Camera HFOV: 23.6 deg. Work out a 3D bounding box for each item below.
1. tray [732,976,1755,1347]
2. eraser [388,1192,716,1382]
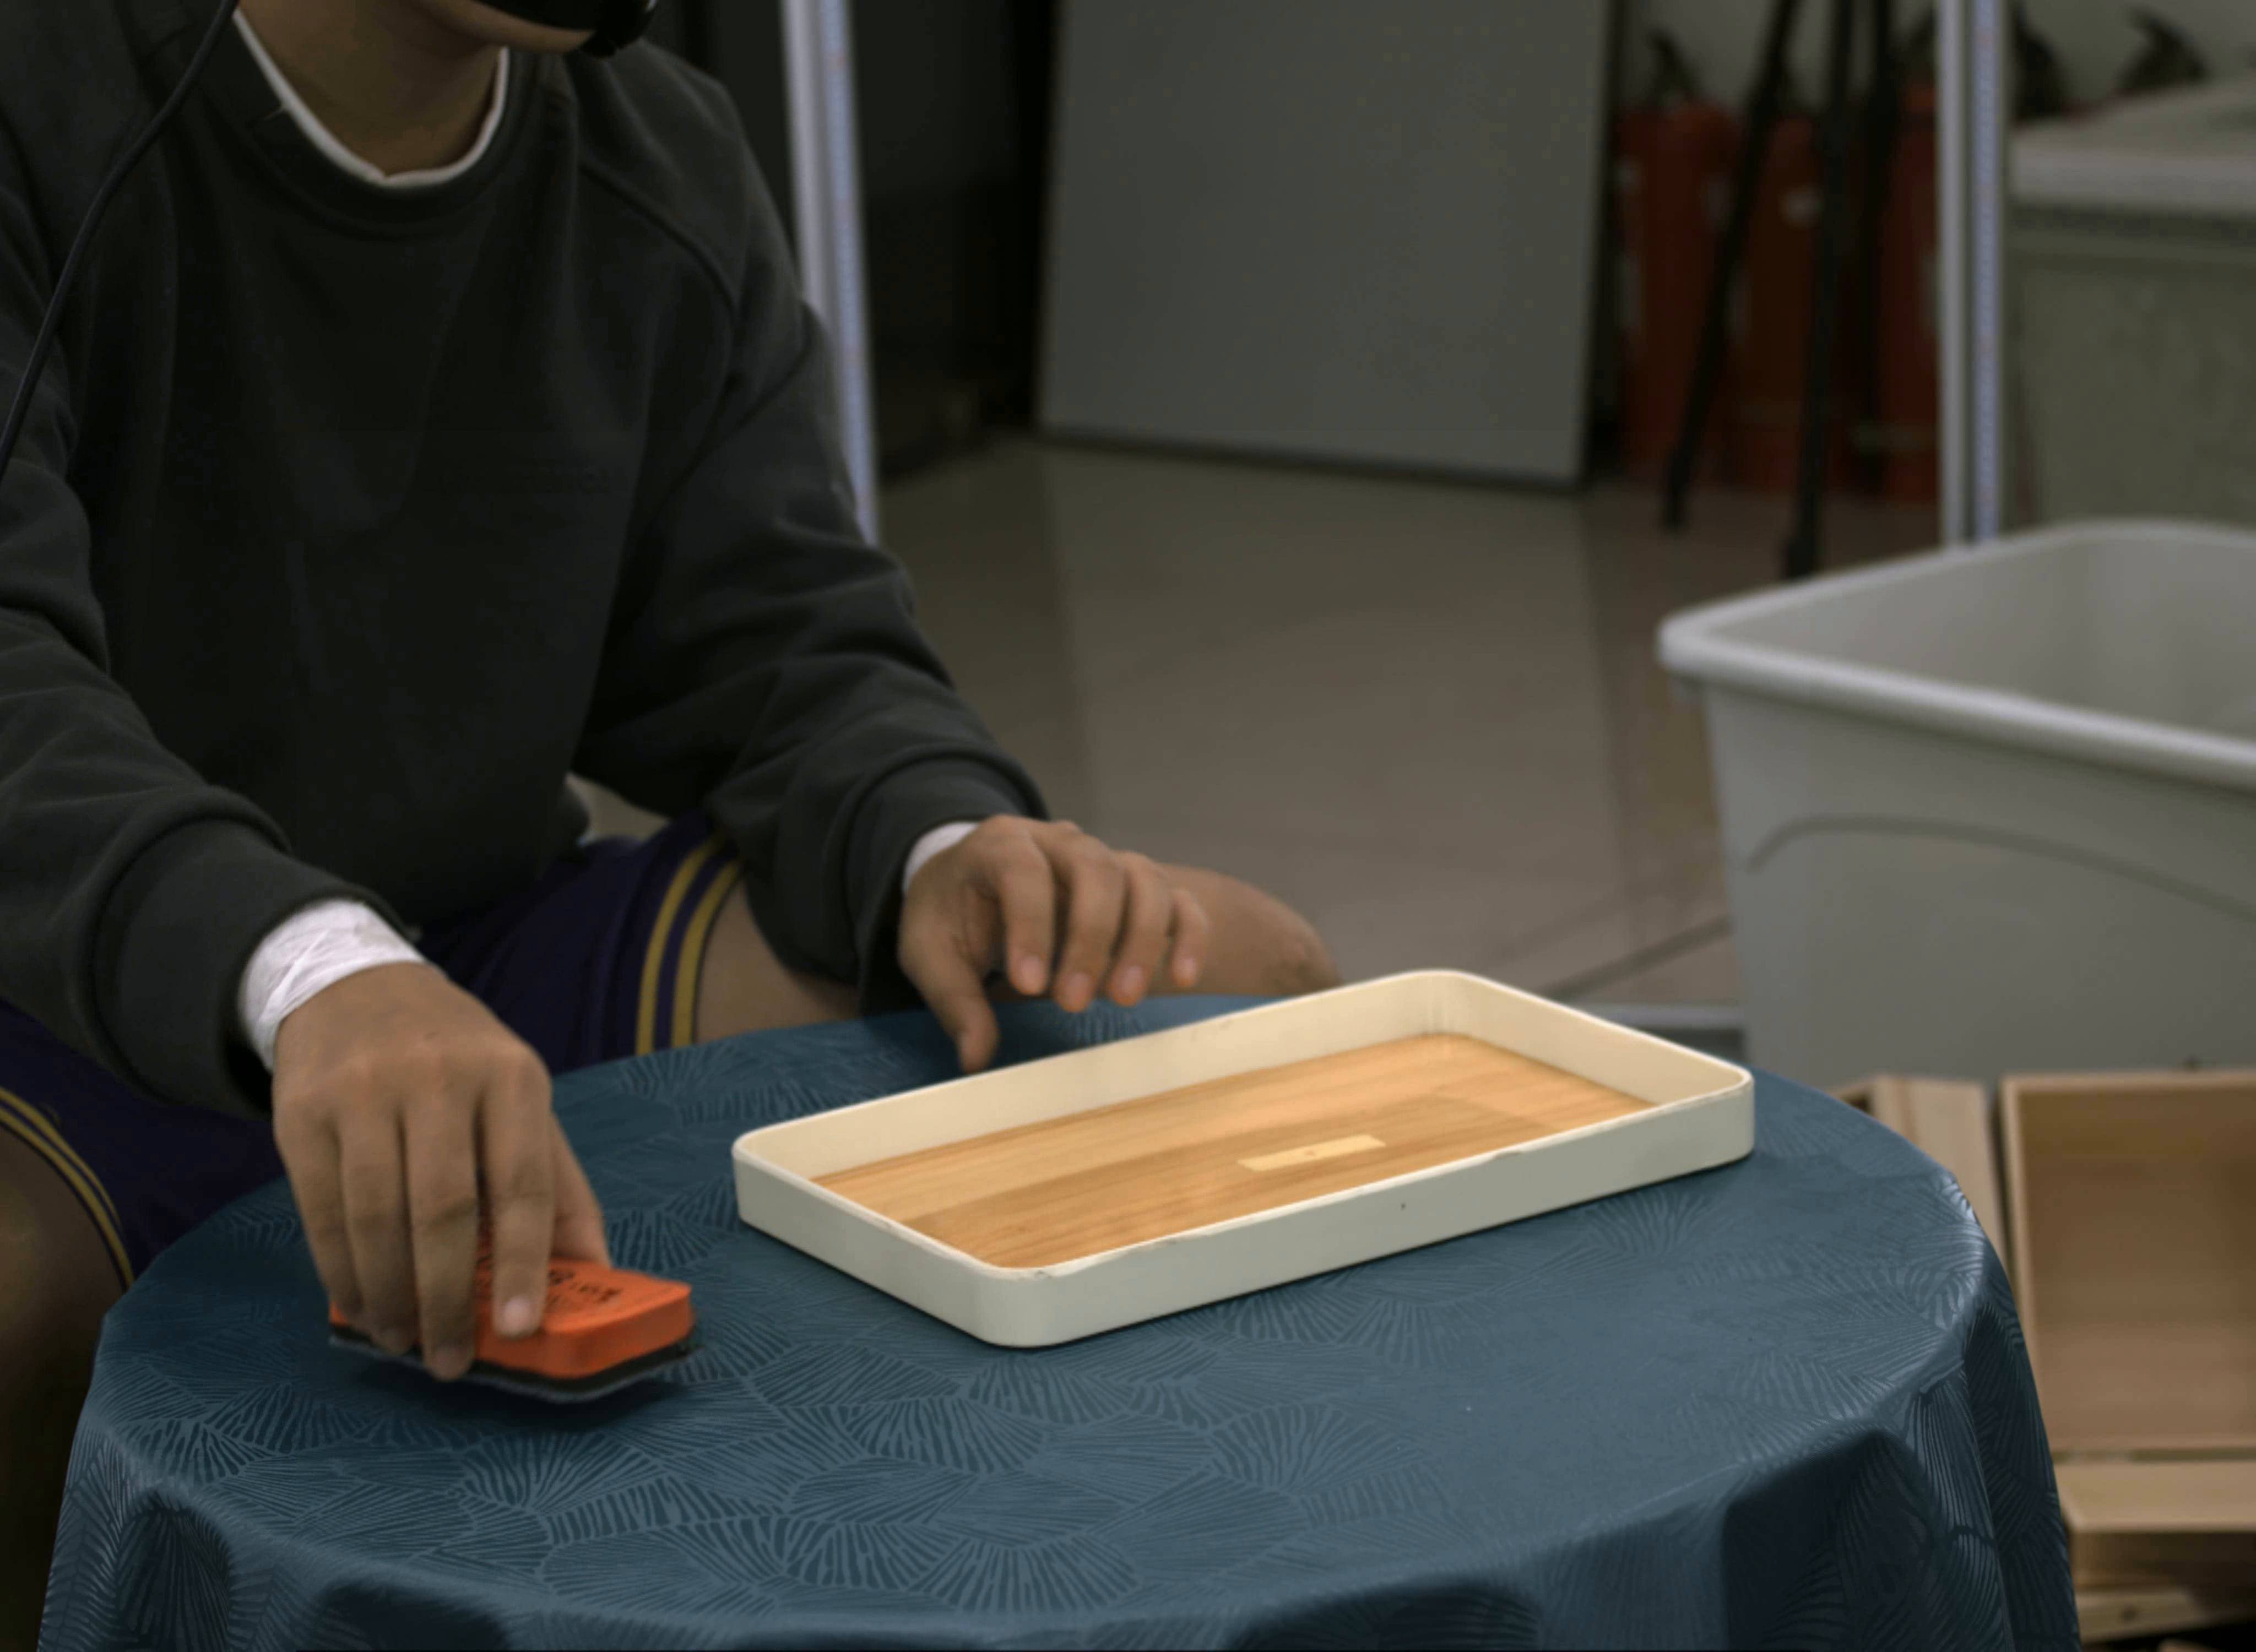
[{"bbox_3d":[0.039,0.106,1.764,0.293,0.028,0.193,-12,16,-30],"label":"tray"},{"bbox_3d":[-0.173,0.138,1.628,0.057,0.023,0.109,-12,19,-38],"label":"eraser"}]
